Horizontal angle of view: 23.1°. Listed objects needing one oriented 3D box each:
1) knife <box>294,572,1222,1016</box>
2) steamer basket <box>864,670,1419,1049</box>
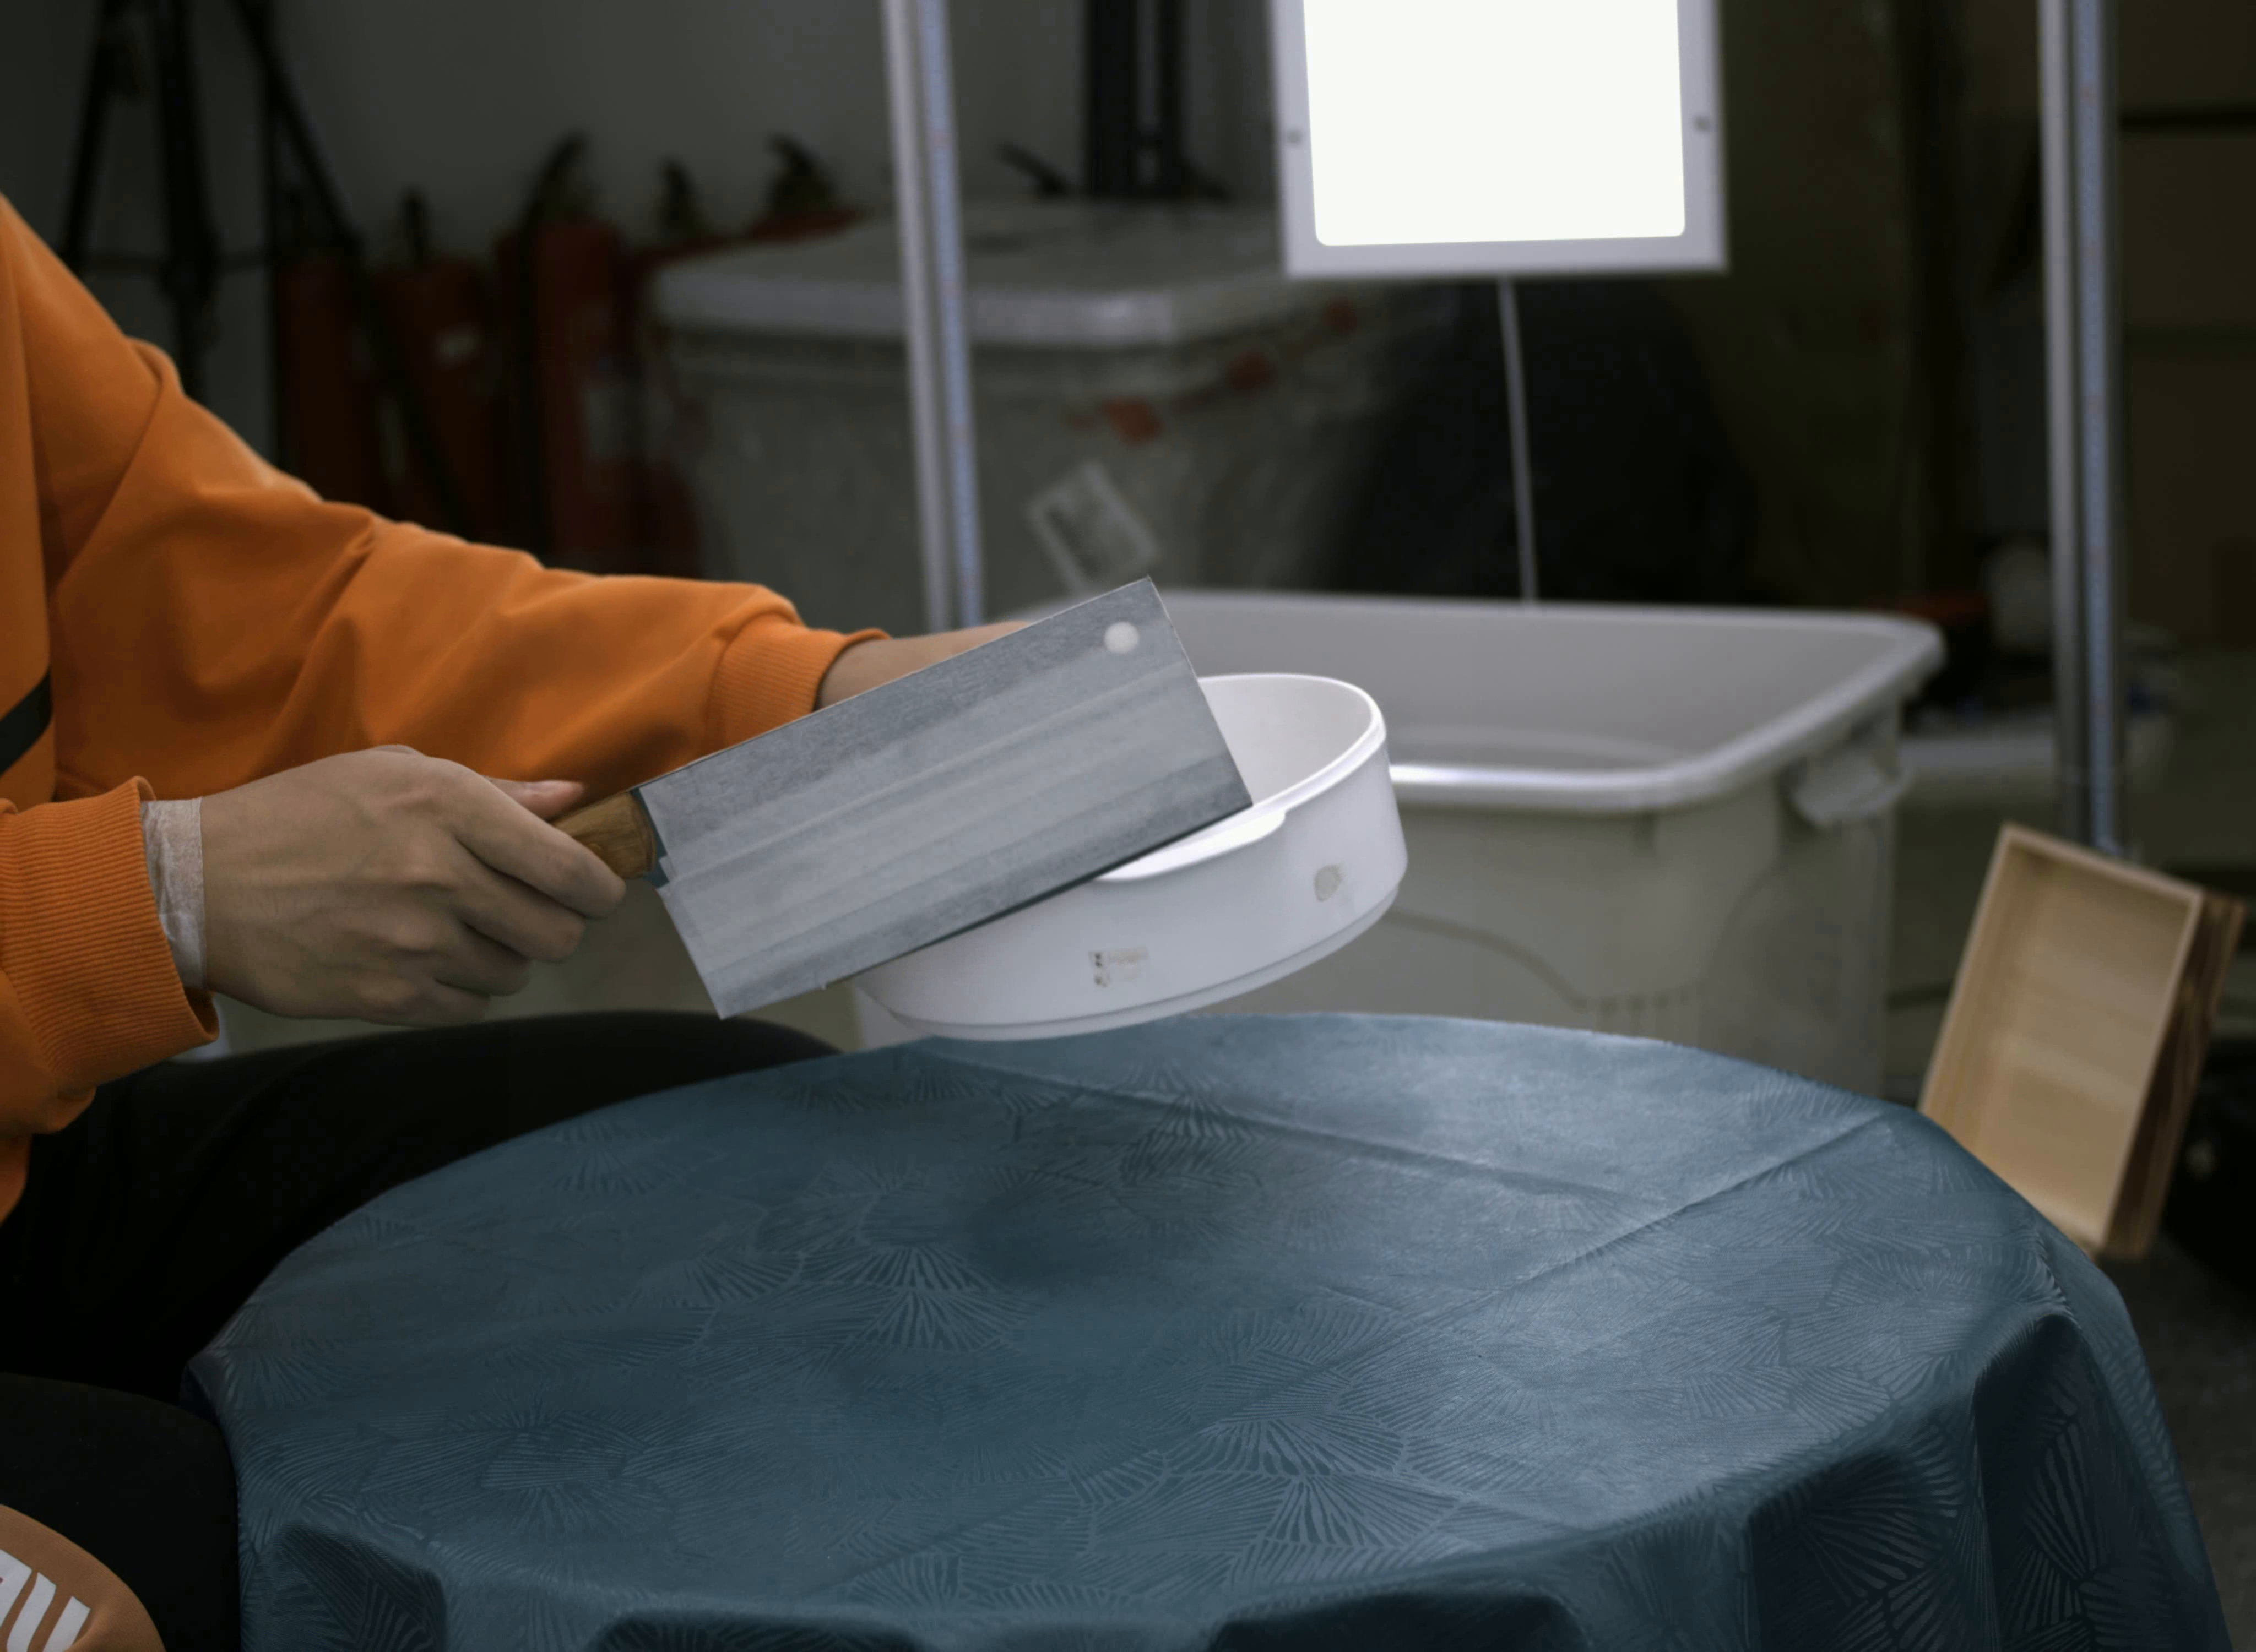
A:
[{"bbox_3d":[-0.117,0.011,1.781,0.307,0.092,0.021,-22,26,10],"label":"knife"},{"bbox_3d":[0.002,0.012,1.896,0.199,0.069,0.233,-18,20,-13],"label":"steamer basket"}]
